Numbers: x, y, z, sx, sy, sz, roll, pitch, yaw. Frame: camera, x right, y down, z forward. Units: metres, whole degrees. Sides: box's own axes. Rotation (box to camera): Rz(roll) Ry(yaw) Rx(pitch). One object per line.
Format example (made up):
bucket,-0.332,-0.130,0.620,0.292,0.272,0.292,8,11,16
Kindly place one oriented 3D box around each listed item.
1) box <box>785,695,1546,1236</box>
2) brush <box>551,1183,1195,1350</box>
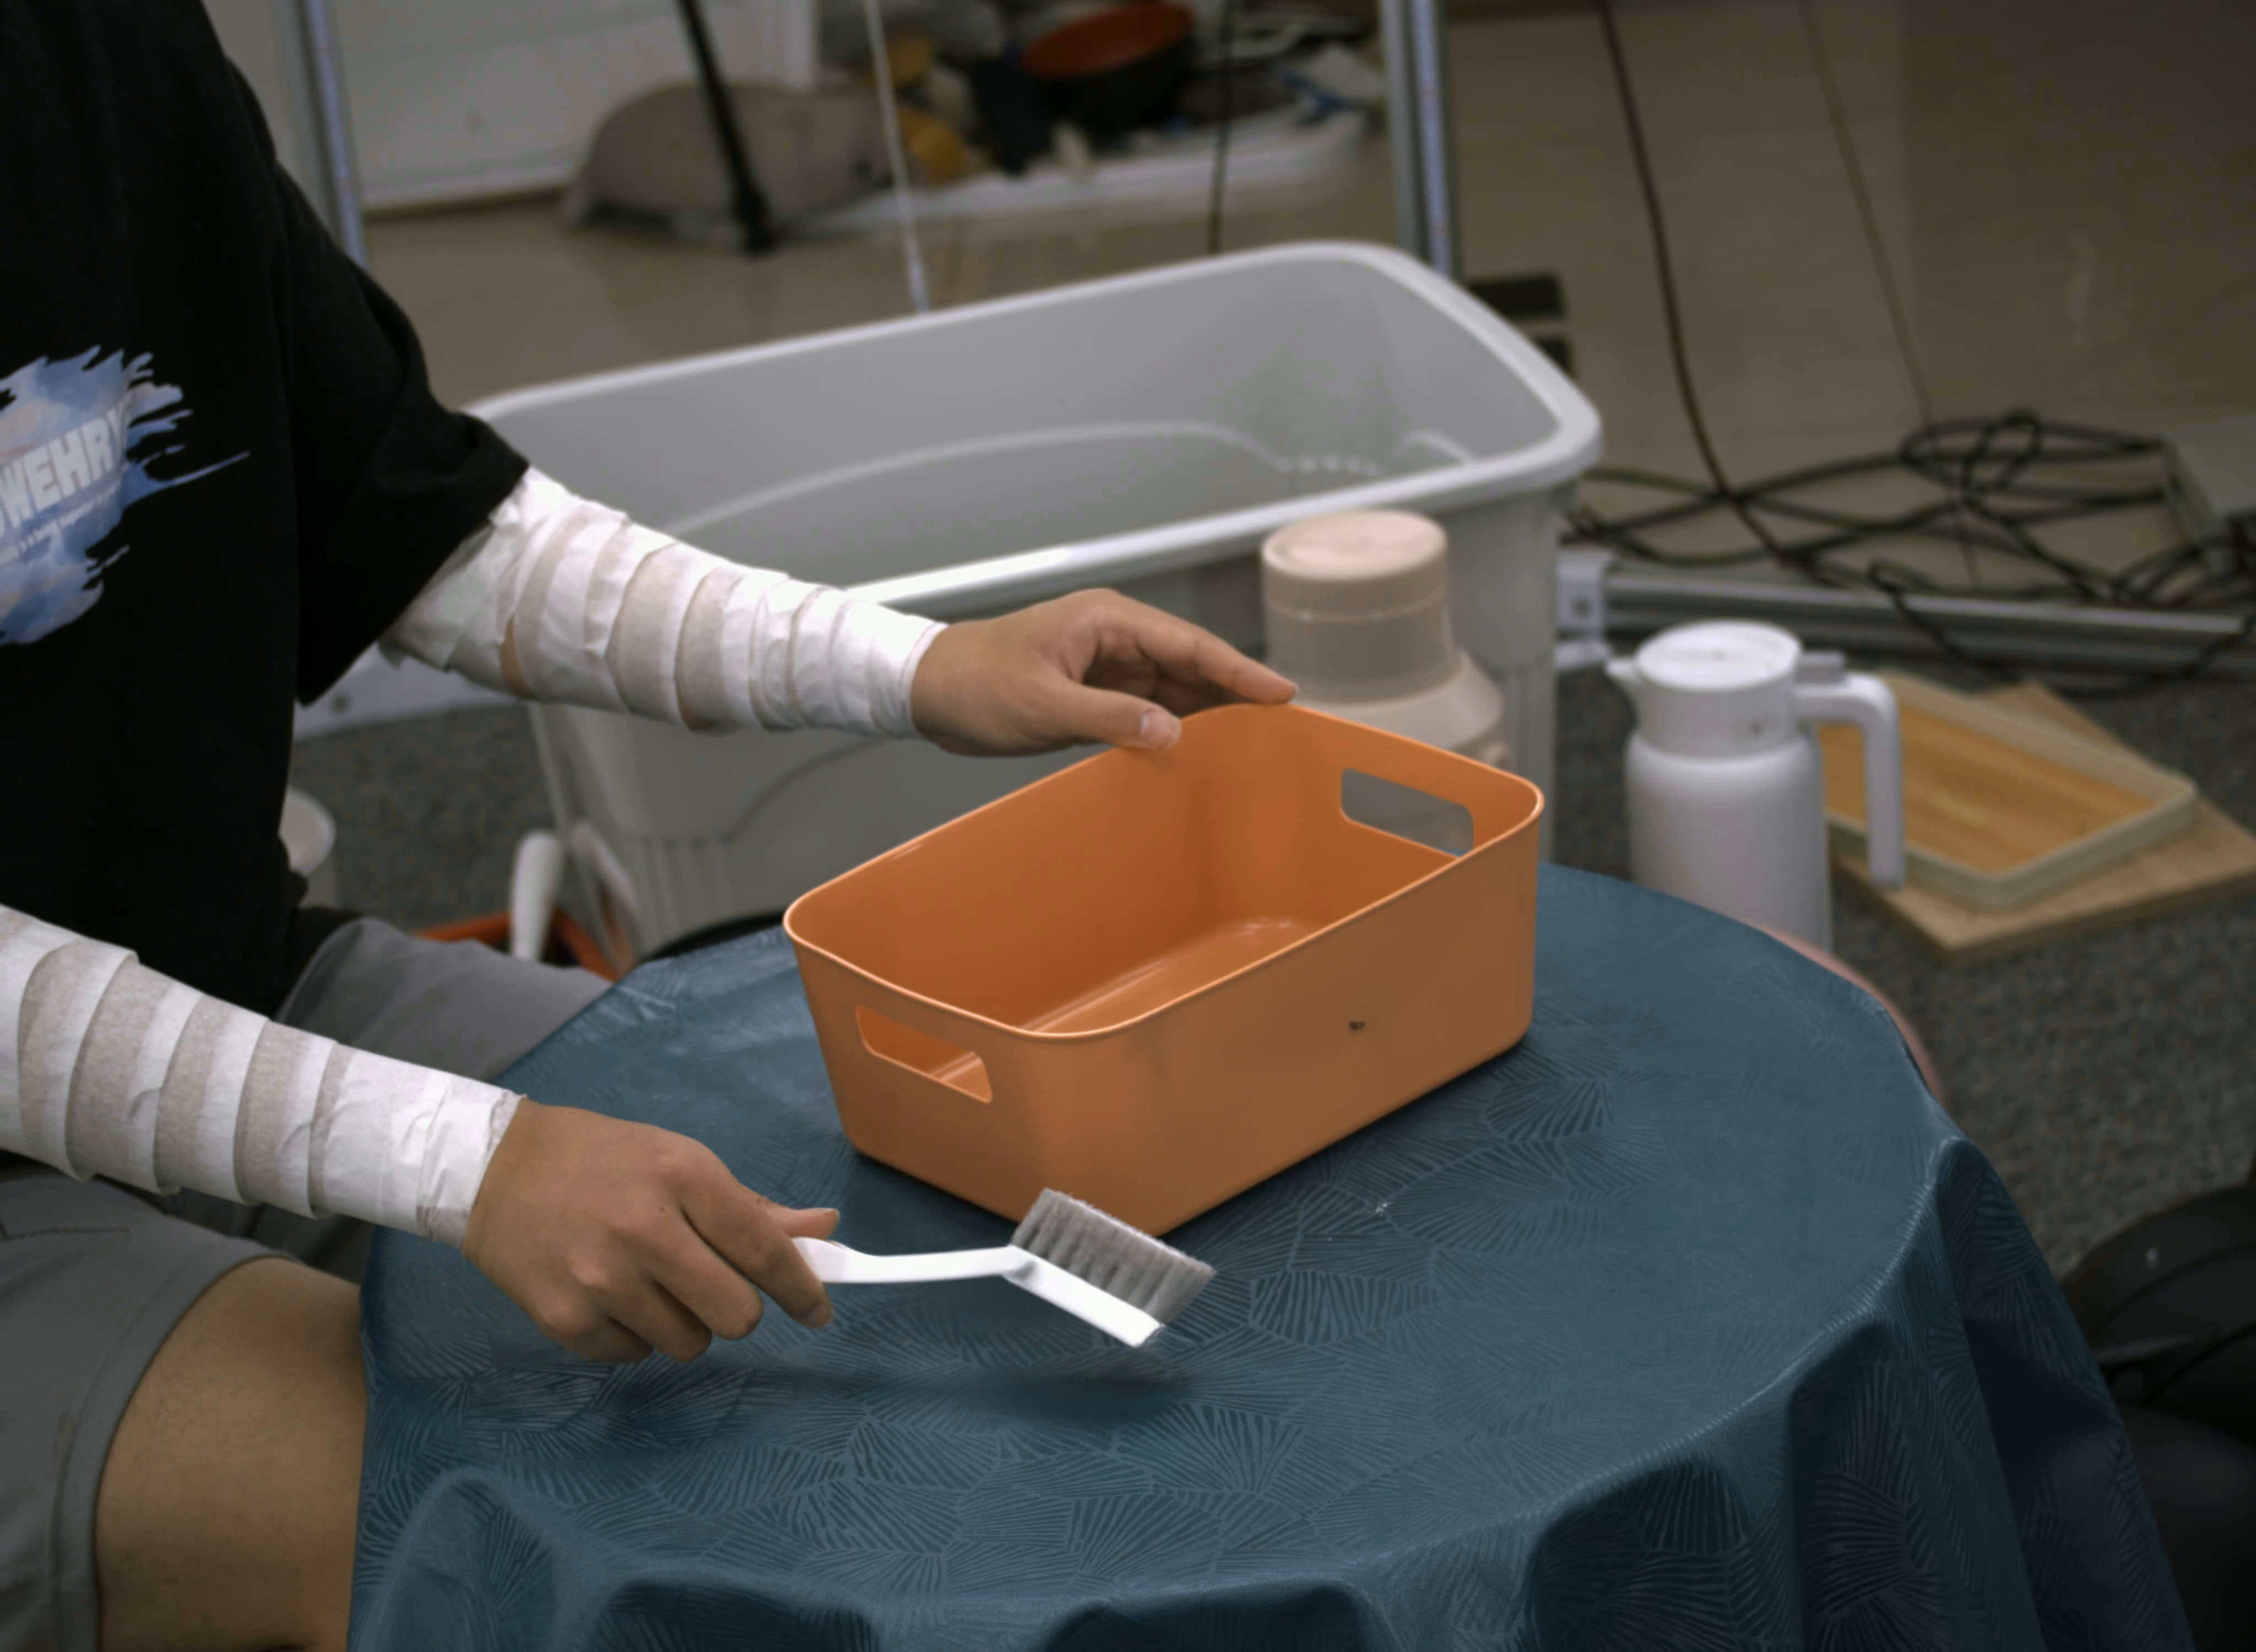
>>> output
box,0.019,0.054,2.197,0.271,0.104,0.198,-25,31,-36
brush,-0.093,0.140,2.034,0.242,0.050,0.034,12,-1,19
